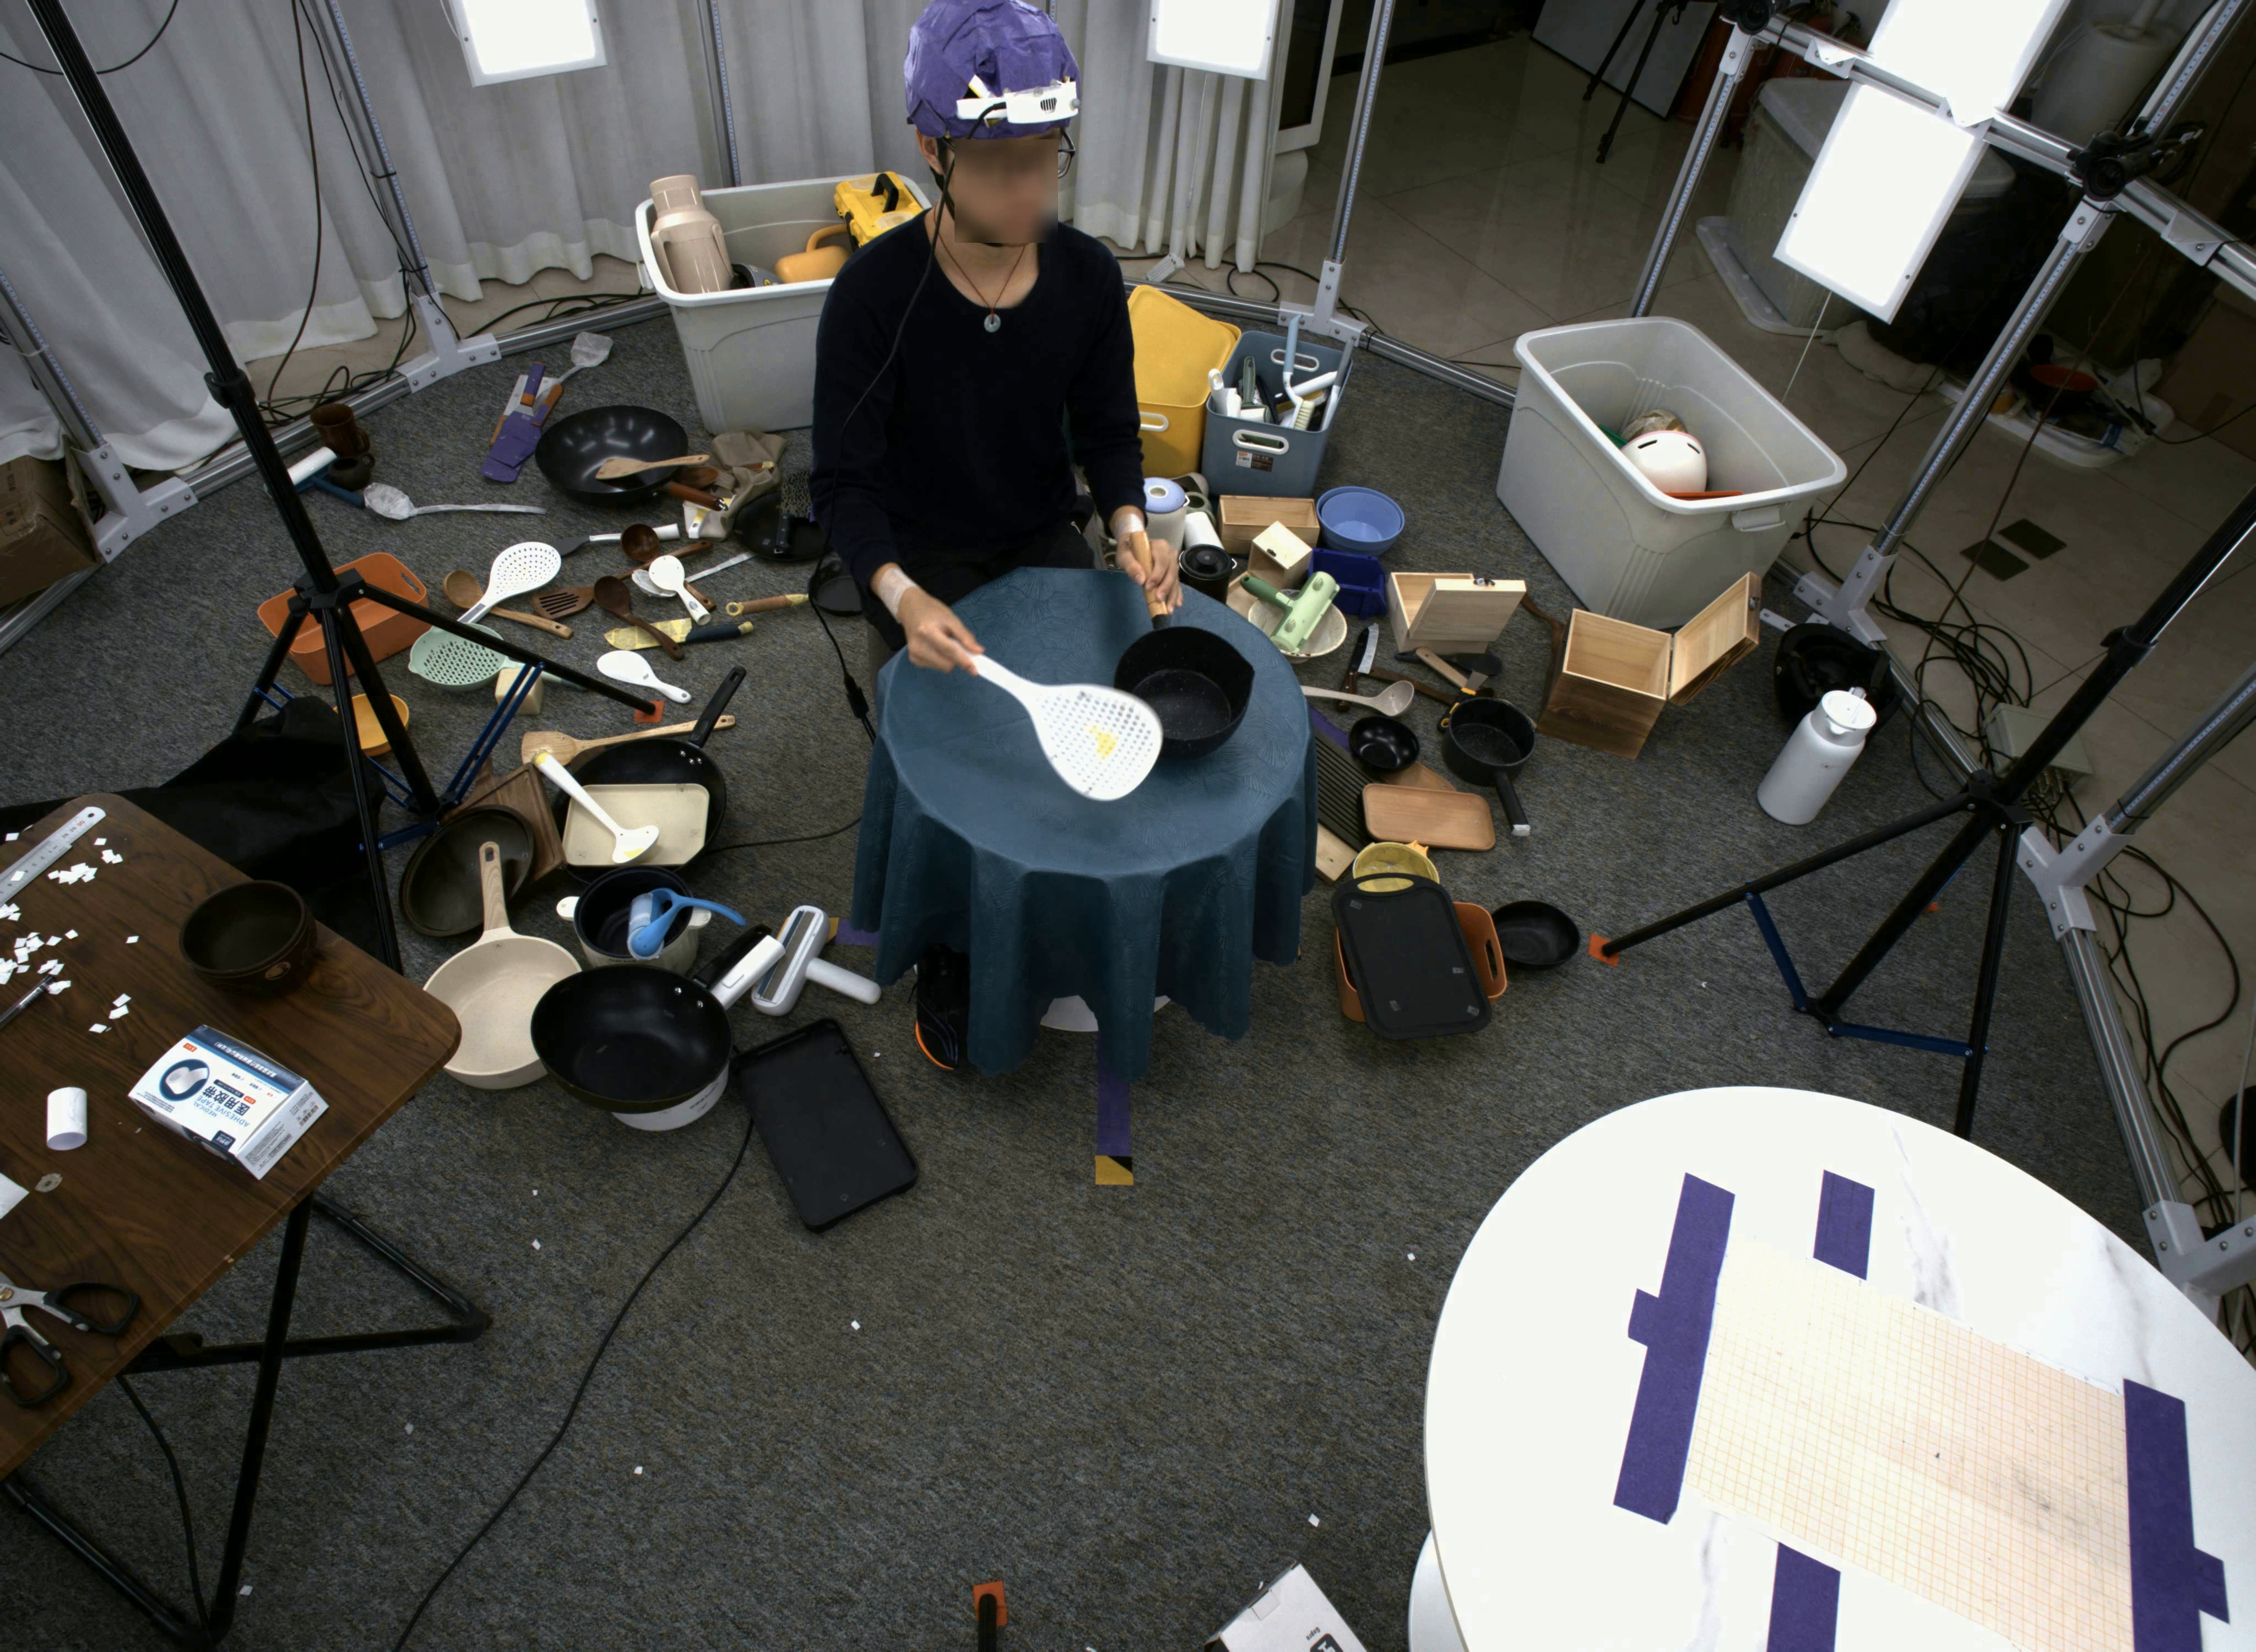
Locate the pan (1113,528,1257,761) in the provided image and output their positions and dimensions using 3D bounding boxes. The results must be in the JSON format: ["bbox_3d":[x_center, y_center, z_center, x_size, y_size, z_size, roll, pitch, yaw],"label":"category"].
[{"bbox_3d":[0.053,-0.249,1.779,0.207,0.106,0.350,-13,64,-7],"label":"pan"}]

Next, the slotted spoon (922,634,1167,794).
[{"bbox_3d":[-0.113,-0.165,1.633,0.349,0.050,0.137,30,91,6],"label":"slotted spoon"}]
